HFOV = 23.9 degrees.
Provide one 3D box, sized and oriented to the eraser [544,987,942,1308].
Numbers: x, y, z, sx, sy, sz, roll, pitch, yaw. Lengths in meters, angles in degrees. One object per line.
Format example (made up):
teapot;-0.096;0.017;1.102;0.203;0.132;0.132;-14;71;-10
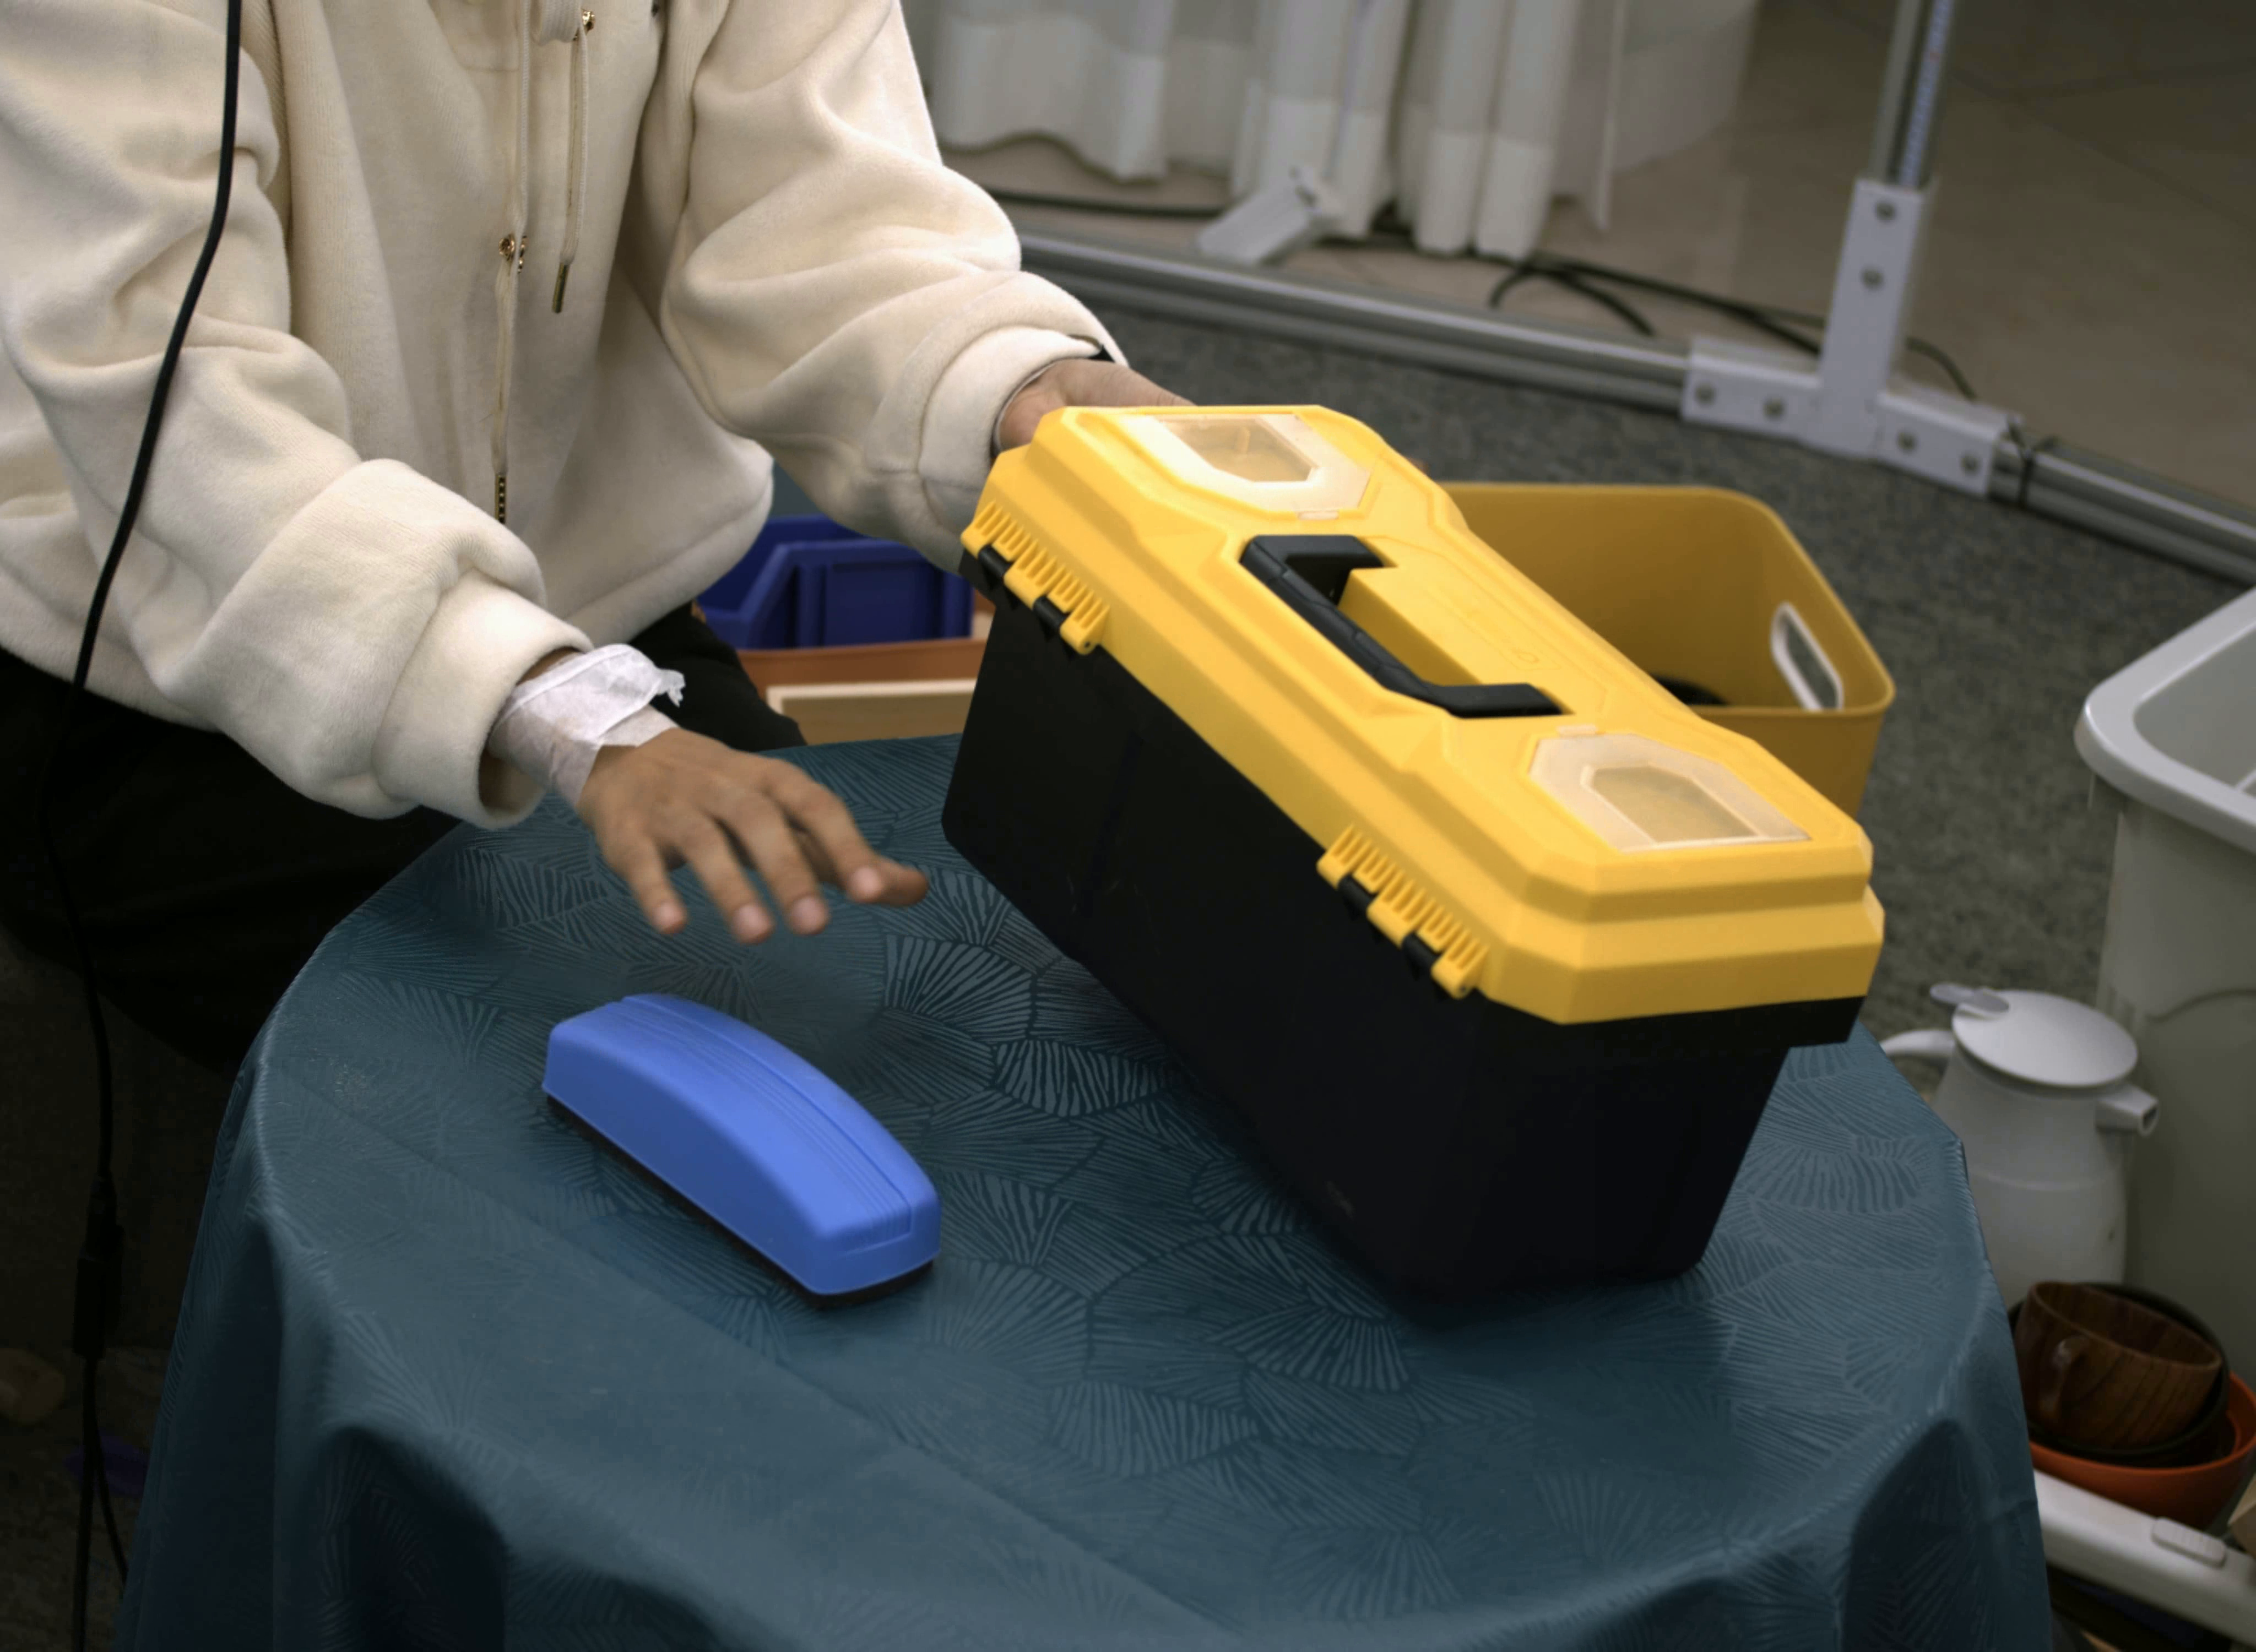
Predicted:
eraser;-0.129;0.100;1.766;0.053;0.047;0.163;-16;35;-39

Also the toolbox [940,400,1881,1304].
toolbox;0.084;0.002;1.828;0.180;0.172;0.355;-3;32;-35
